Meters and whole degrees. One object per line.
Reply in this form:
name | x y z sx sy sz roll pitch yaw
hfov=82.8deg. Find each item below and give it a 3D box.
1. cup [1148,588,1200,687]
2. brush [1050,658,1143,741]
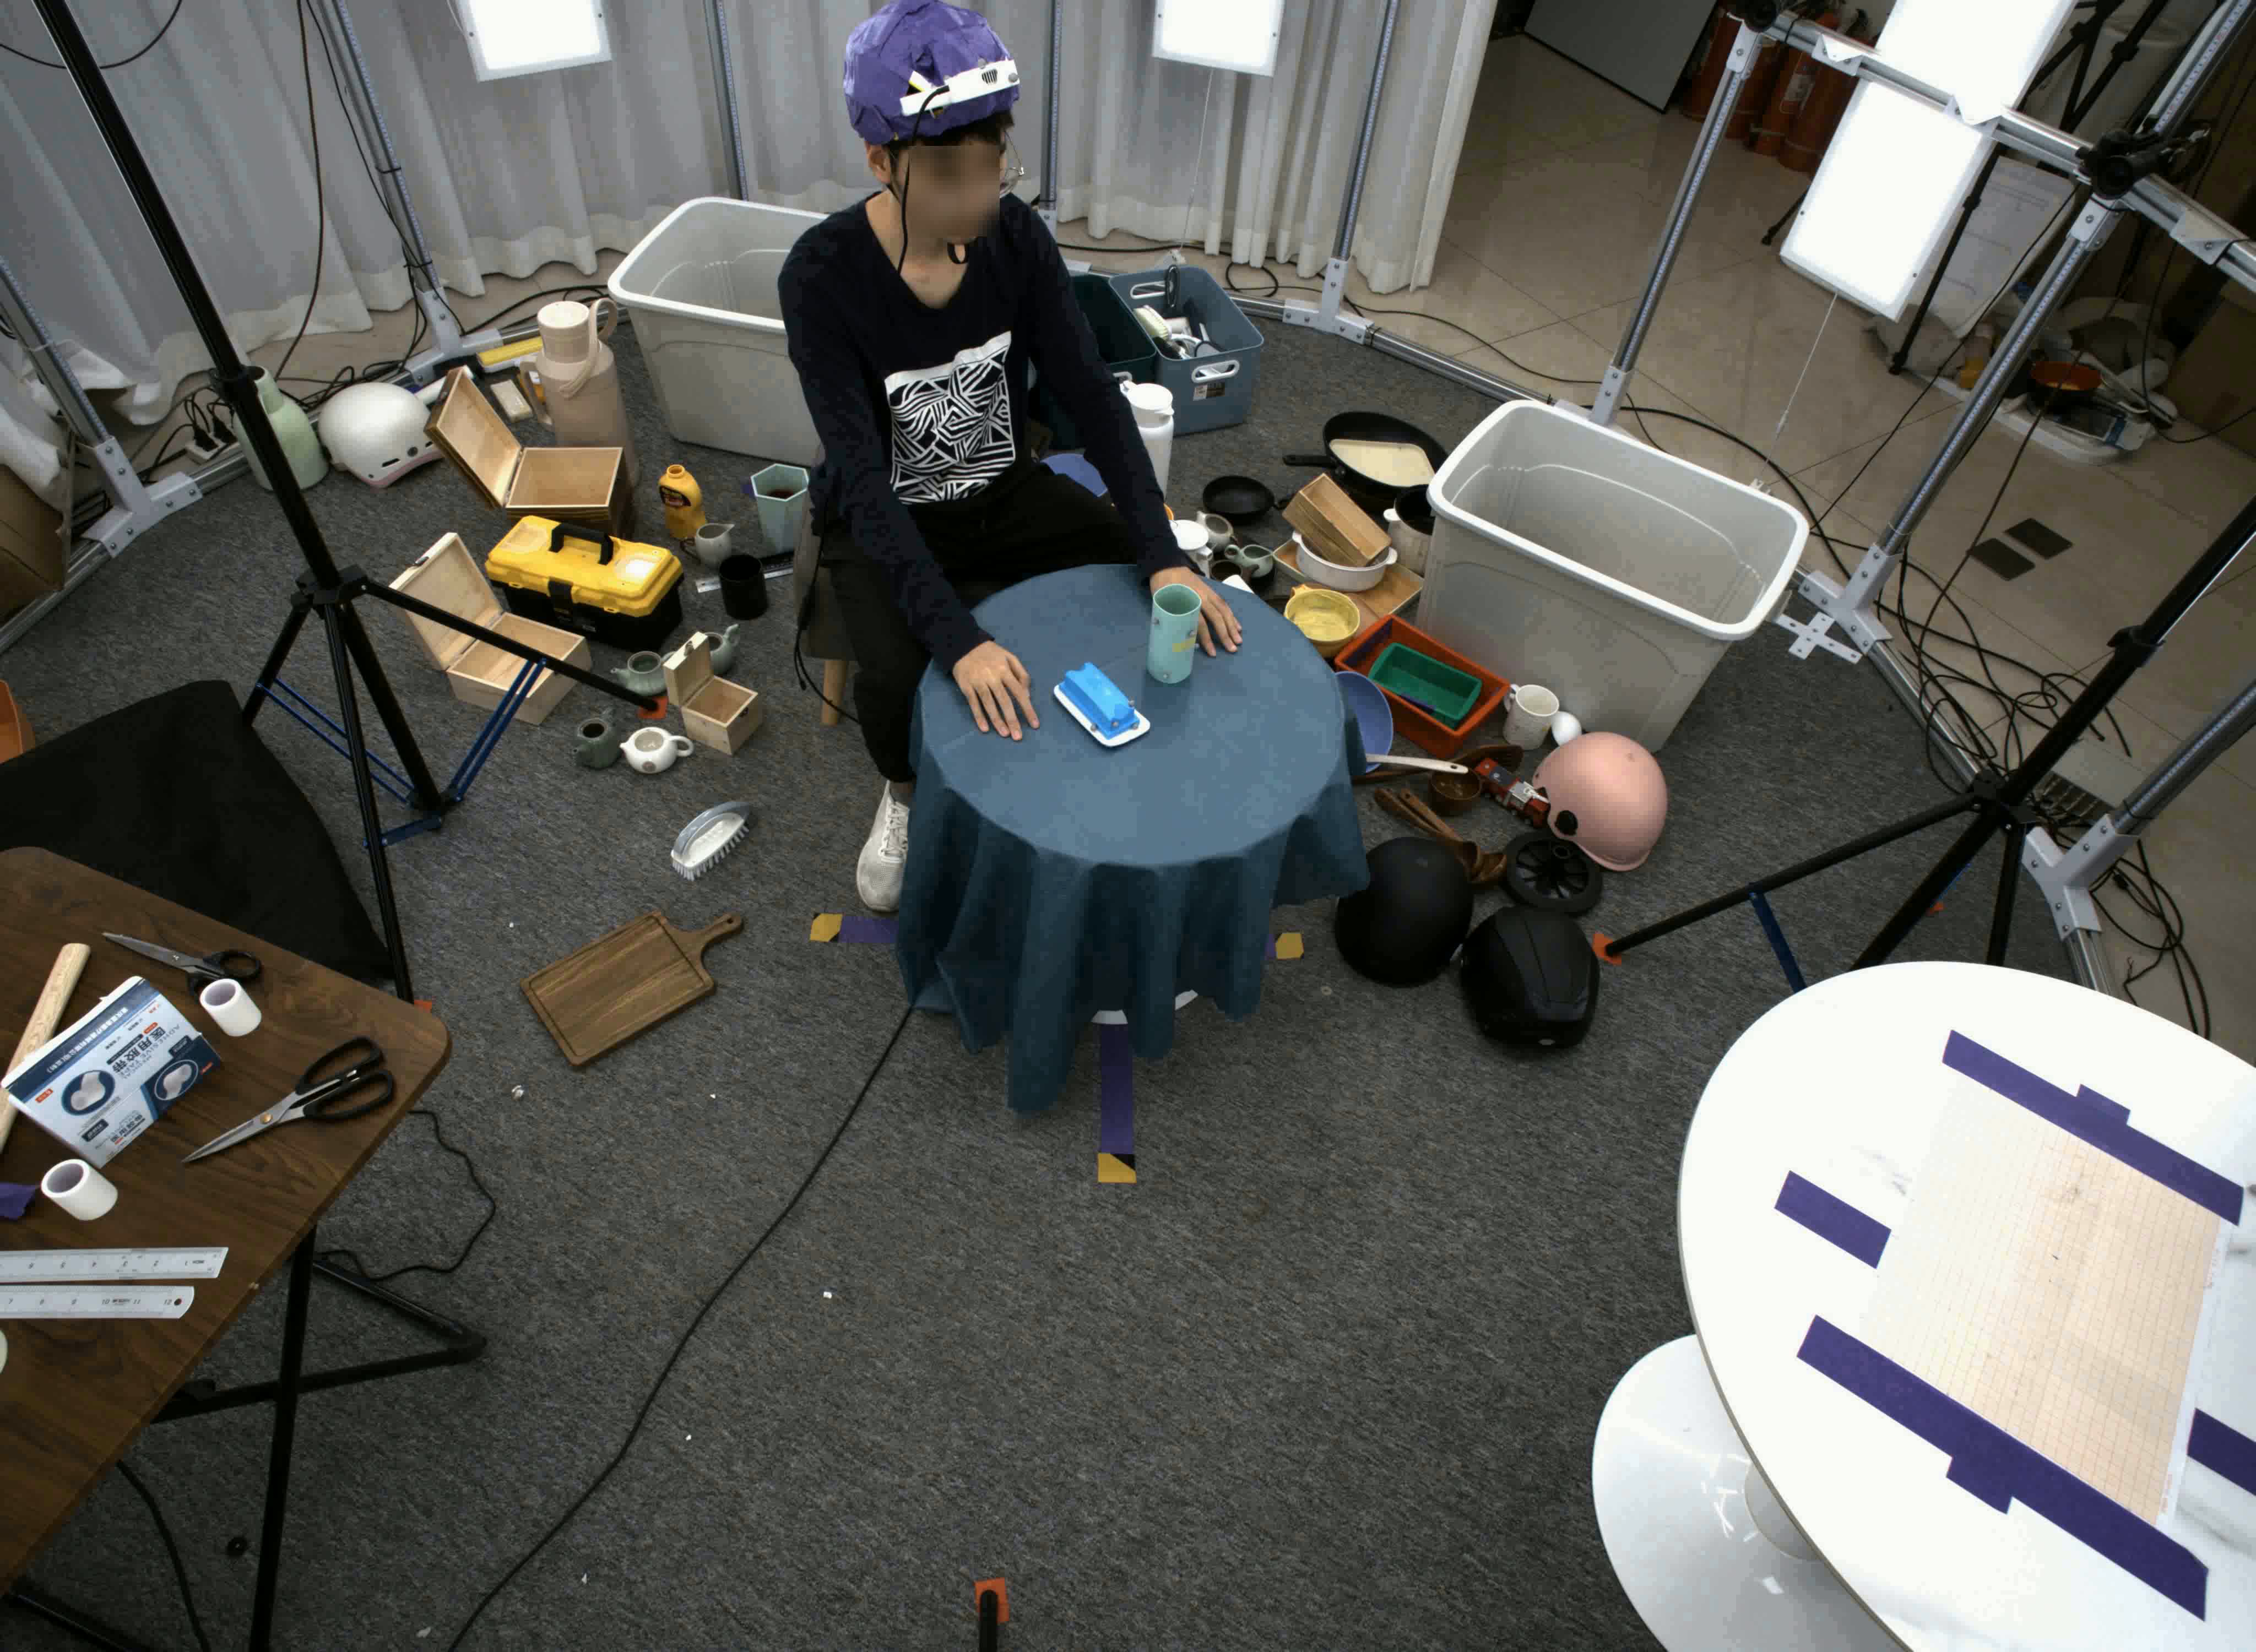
cup | 0.063 -0.268 1.828 0.066 0.129 0.068 1 48 -2
brush | -0.041 -0.183 1.785 0.084 0.054 0.147 -23 56 -26
